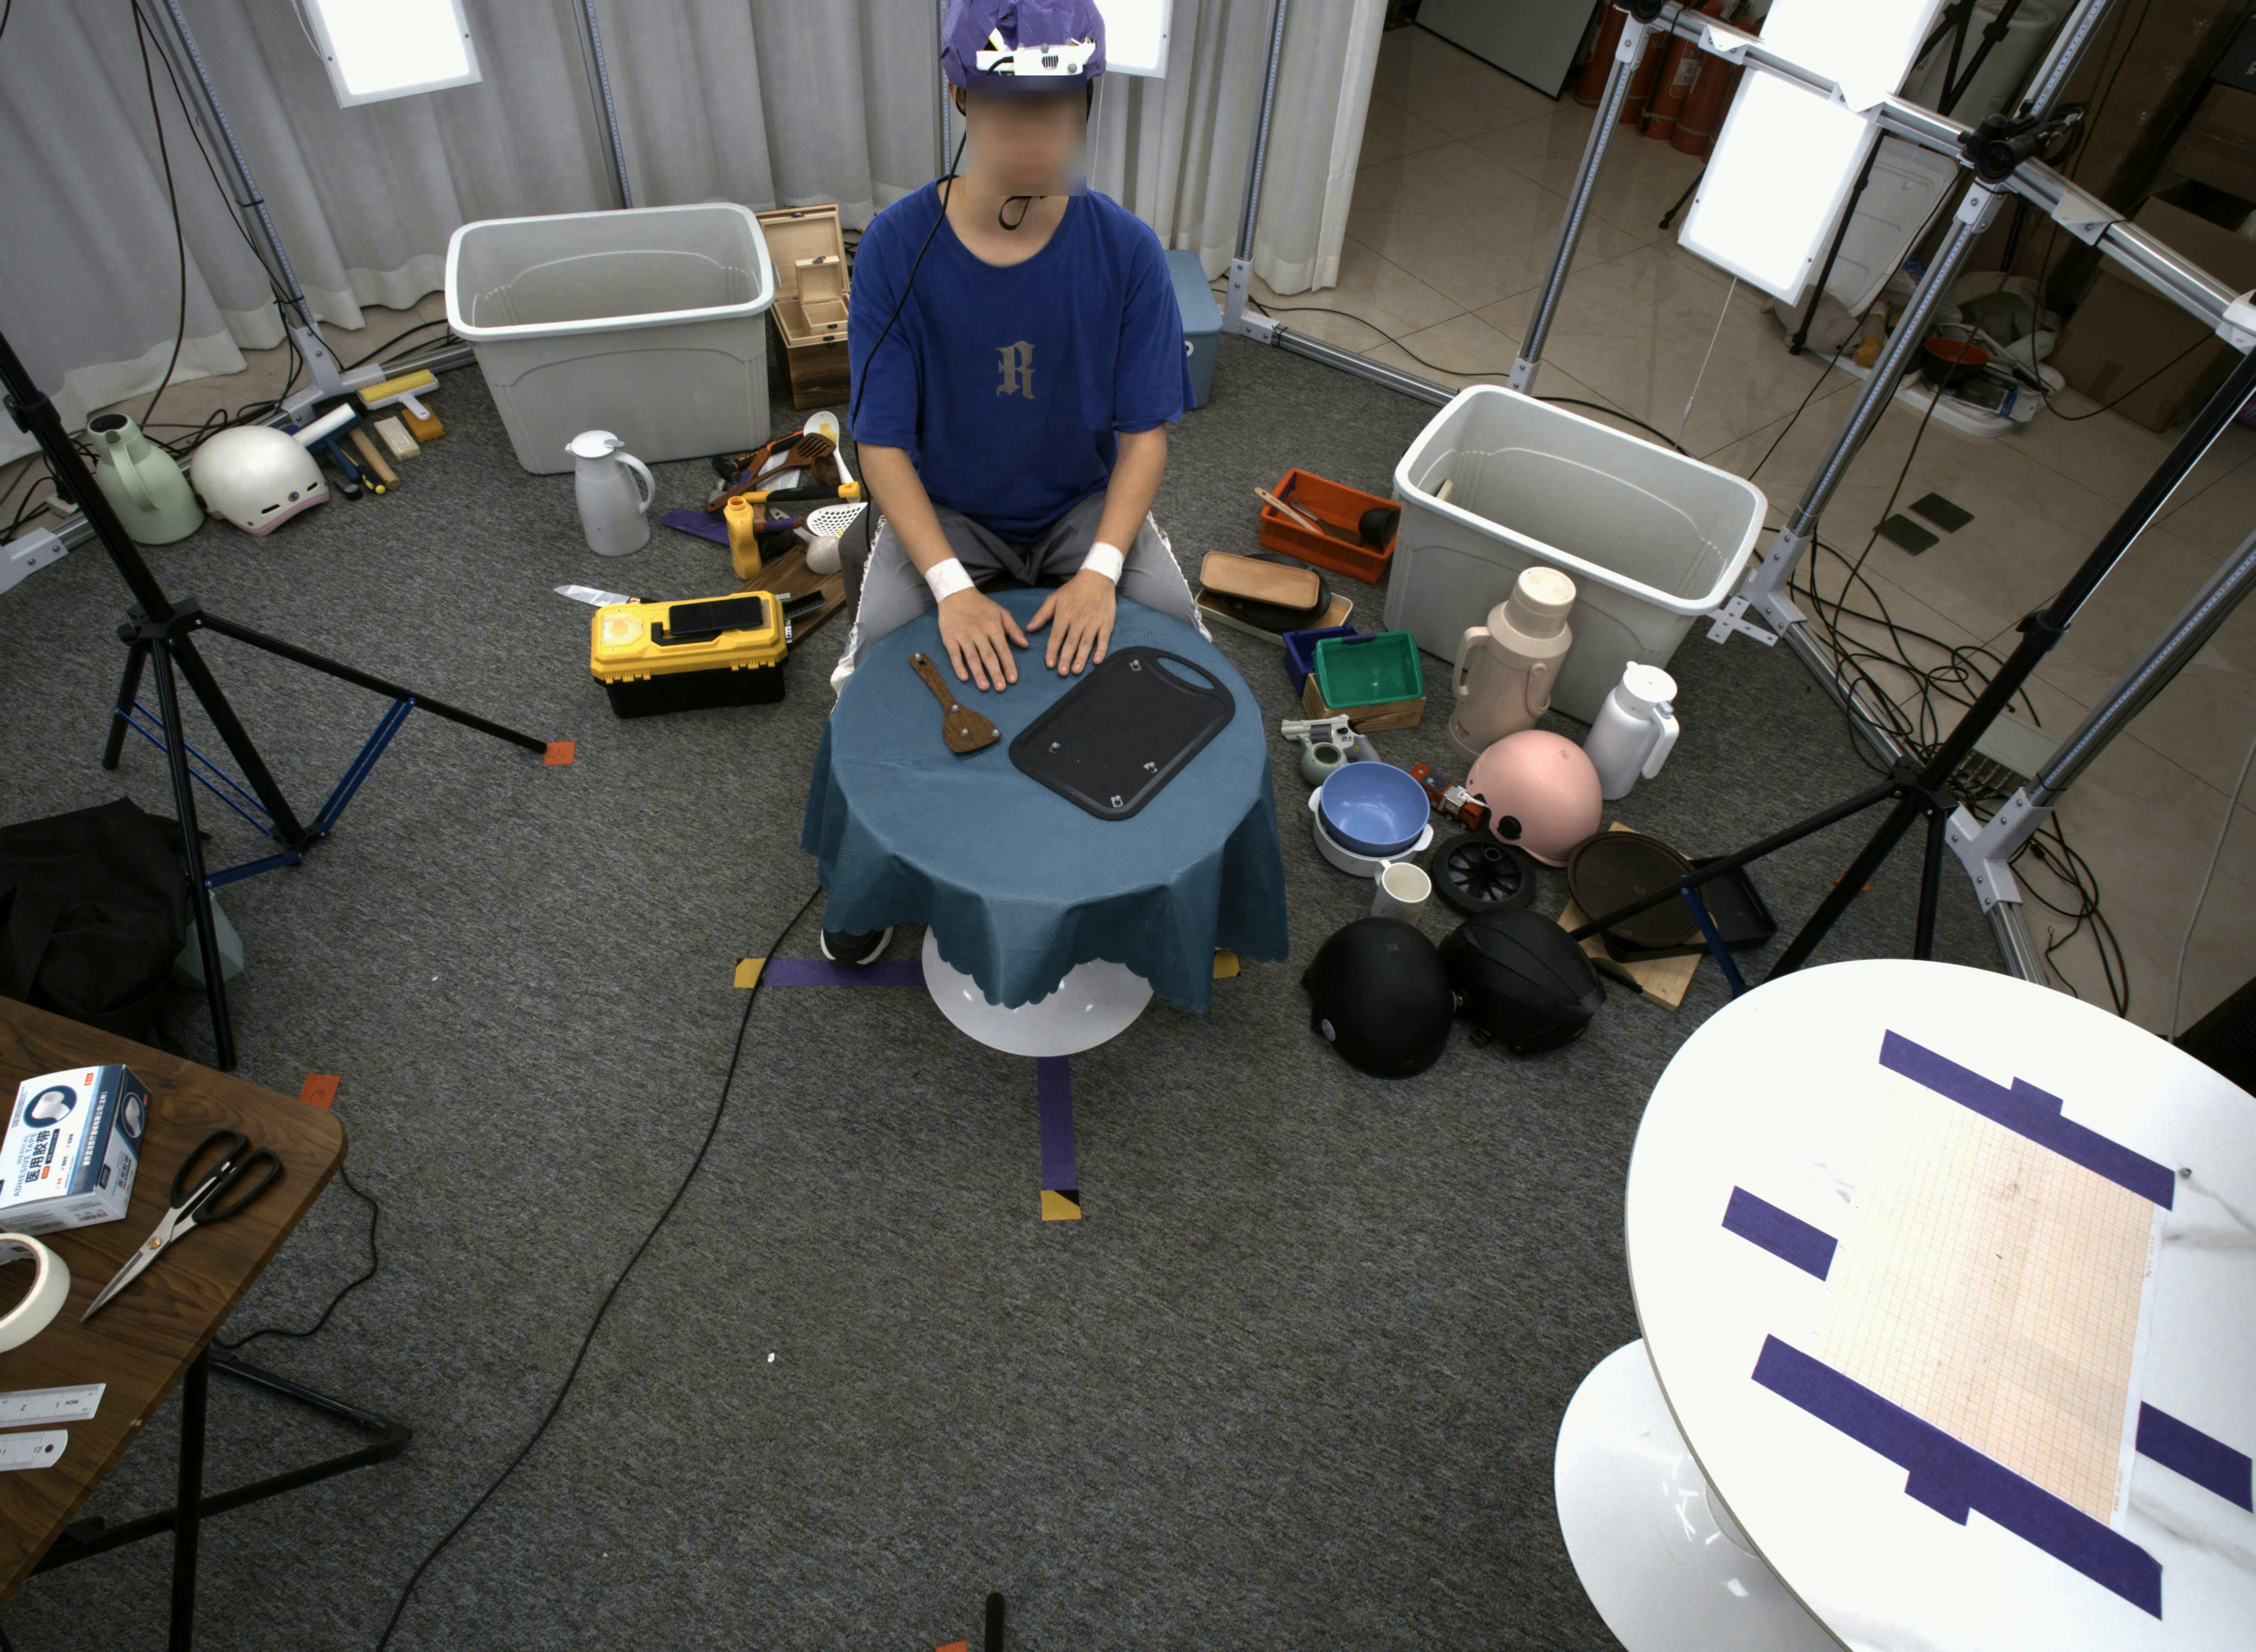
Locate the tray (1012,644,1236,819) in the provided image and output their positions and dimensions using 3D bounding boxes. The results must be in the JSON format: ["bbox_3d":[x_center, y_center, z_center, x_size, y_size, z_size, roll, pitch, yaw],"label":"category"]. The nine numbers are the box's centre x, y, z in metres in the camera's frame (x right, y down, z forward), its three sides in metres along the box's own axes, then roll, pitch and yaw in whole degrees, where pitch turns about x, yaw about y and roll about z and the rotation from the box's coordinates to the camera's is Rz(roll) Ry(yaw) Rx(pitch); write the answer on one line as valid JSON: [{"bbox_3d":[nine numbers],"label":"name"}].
[{"bbox_3d":[0.002,-0.146,1.794,0.213,0.009,0.329,31,55,21],"label":"tray"}]

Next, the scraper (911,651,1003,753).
[{"bbox_3d":[-0.251,-0.178,1.805,0.076,0.010,0.216,-21,53,-21],"label":"scraper"}]
